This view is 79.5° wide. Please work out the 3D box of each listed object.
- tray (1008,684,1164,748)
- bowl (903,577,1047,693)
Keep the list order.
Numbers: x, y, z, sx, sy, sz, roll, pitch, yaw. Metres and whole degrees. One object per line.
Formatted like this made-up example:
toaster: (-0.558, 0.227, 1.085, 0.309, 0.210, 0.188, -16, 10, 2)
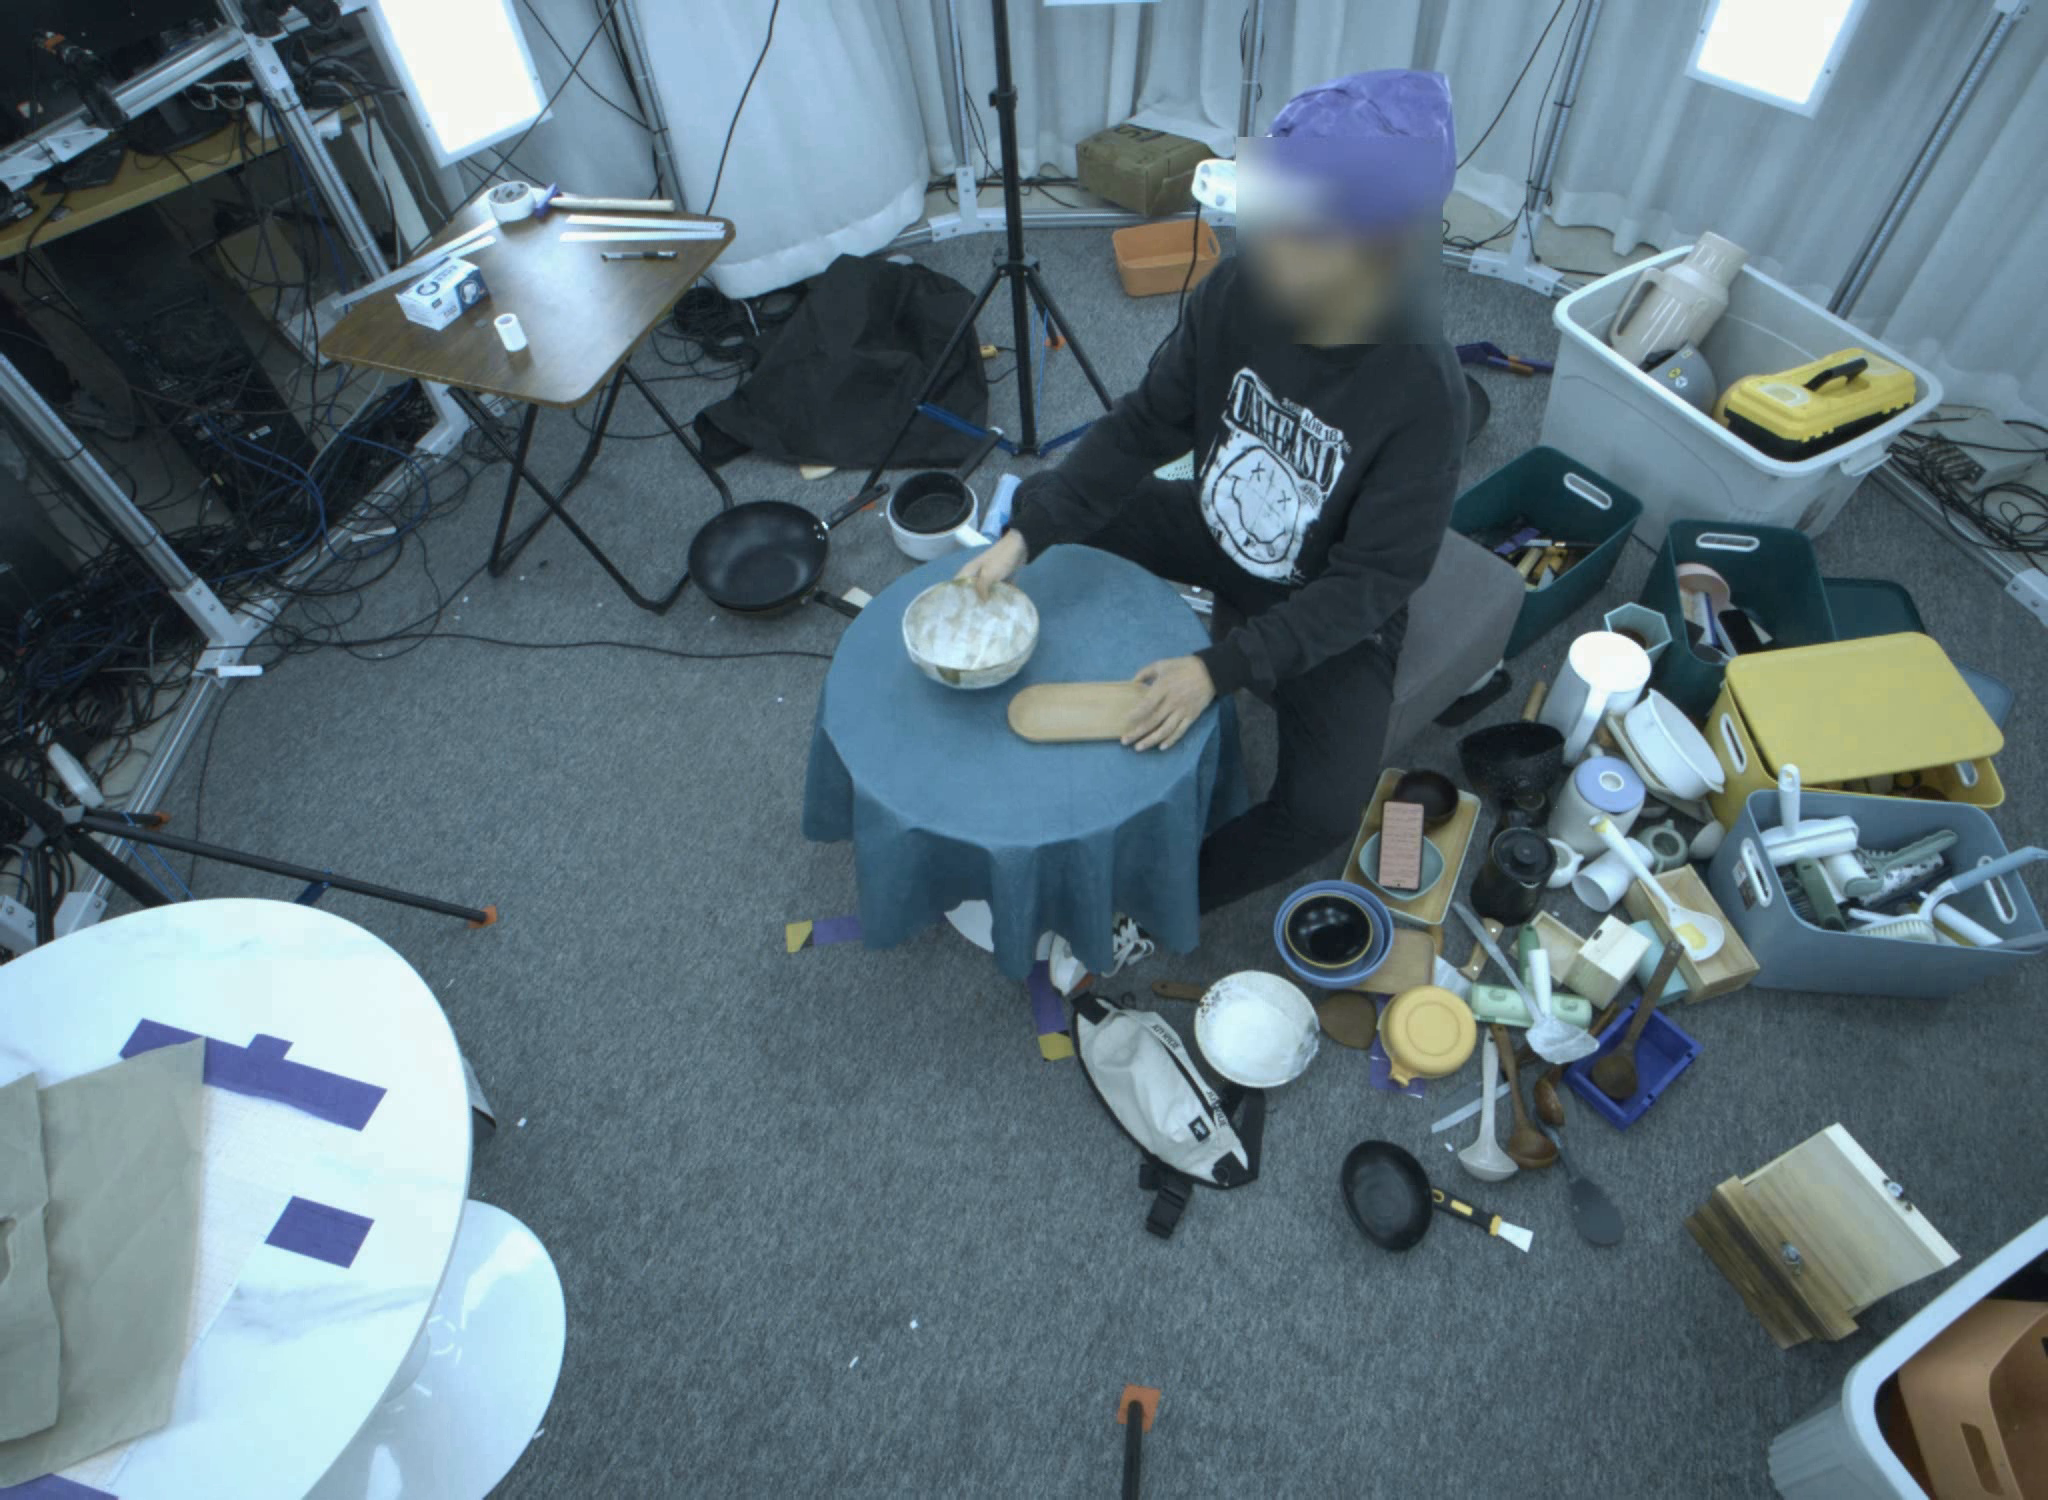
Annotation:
tray: (0.092, -0.050, 1.820, 0.231, 0.020, 0.100, -4, 55, 1)
bowl: (-0.071, -0.155, 1.837, 0.215, 0.095, 0.212, 1, 50, 0)
